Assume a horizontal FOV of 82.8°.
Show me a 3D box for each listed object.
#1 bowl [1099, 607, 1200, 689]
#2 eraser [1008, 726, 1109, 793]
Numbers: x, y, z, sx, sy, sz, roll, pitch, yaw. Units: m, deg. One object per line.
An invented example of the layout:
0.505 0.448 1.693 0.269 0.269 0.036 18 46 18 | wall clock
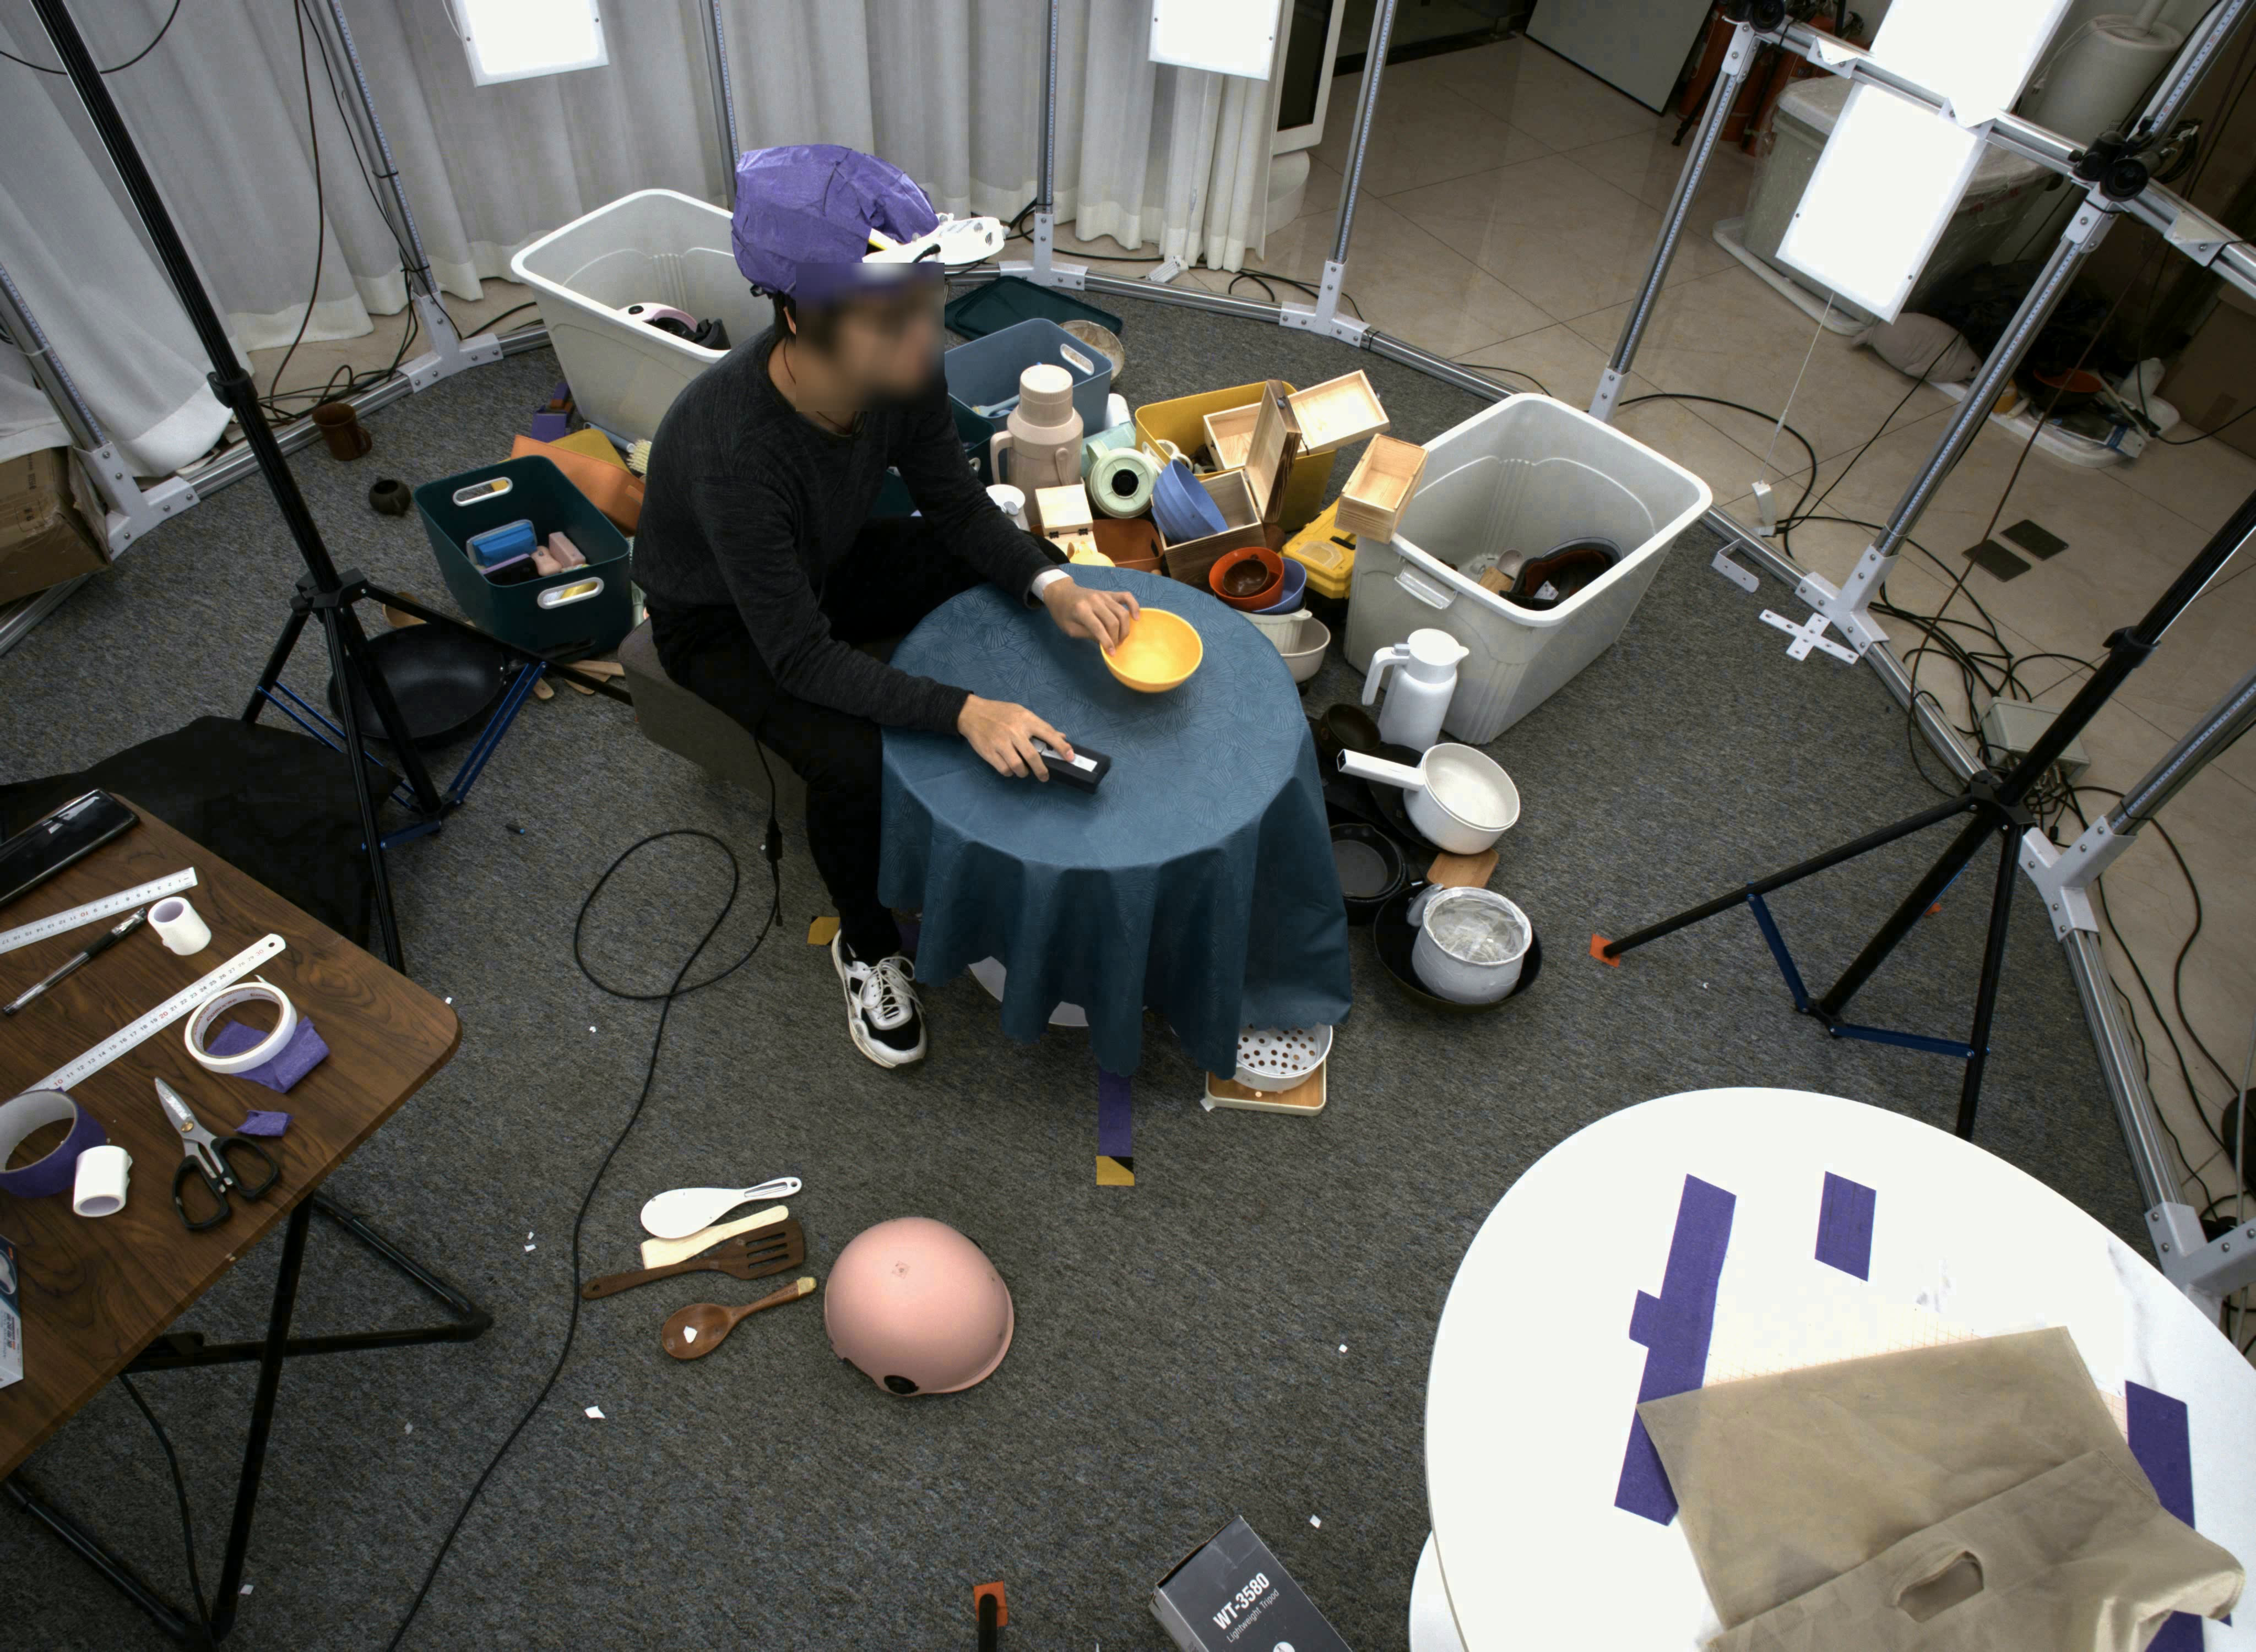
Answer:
0.027 -0.240 1.818 0.145 0.059 0.149 4 50 -6 | bowl
-0.090 -0.088 1.689 0.126 0.030 0.054 20 58 13 | eraser
